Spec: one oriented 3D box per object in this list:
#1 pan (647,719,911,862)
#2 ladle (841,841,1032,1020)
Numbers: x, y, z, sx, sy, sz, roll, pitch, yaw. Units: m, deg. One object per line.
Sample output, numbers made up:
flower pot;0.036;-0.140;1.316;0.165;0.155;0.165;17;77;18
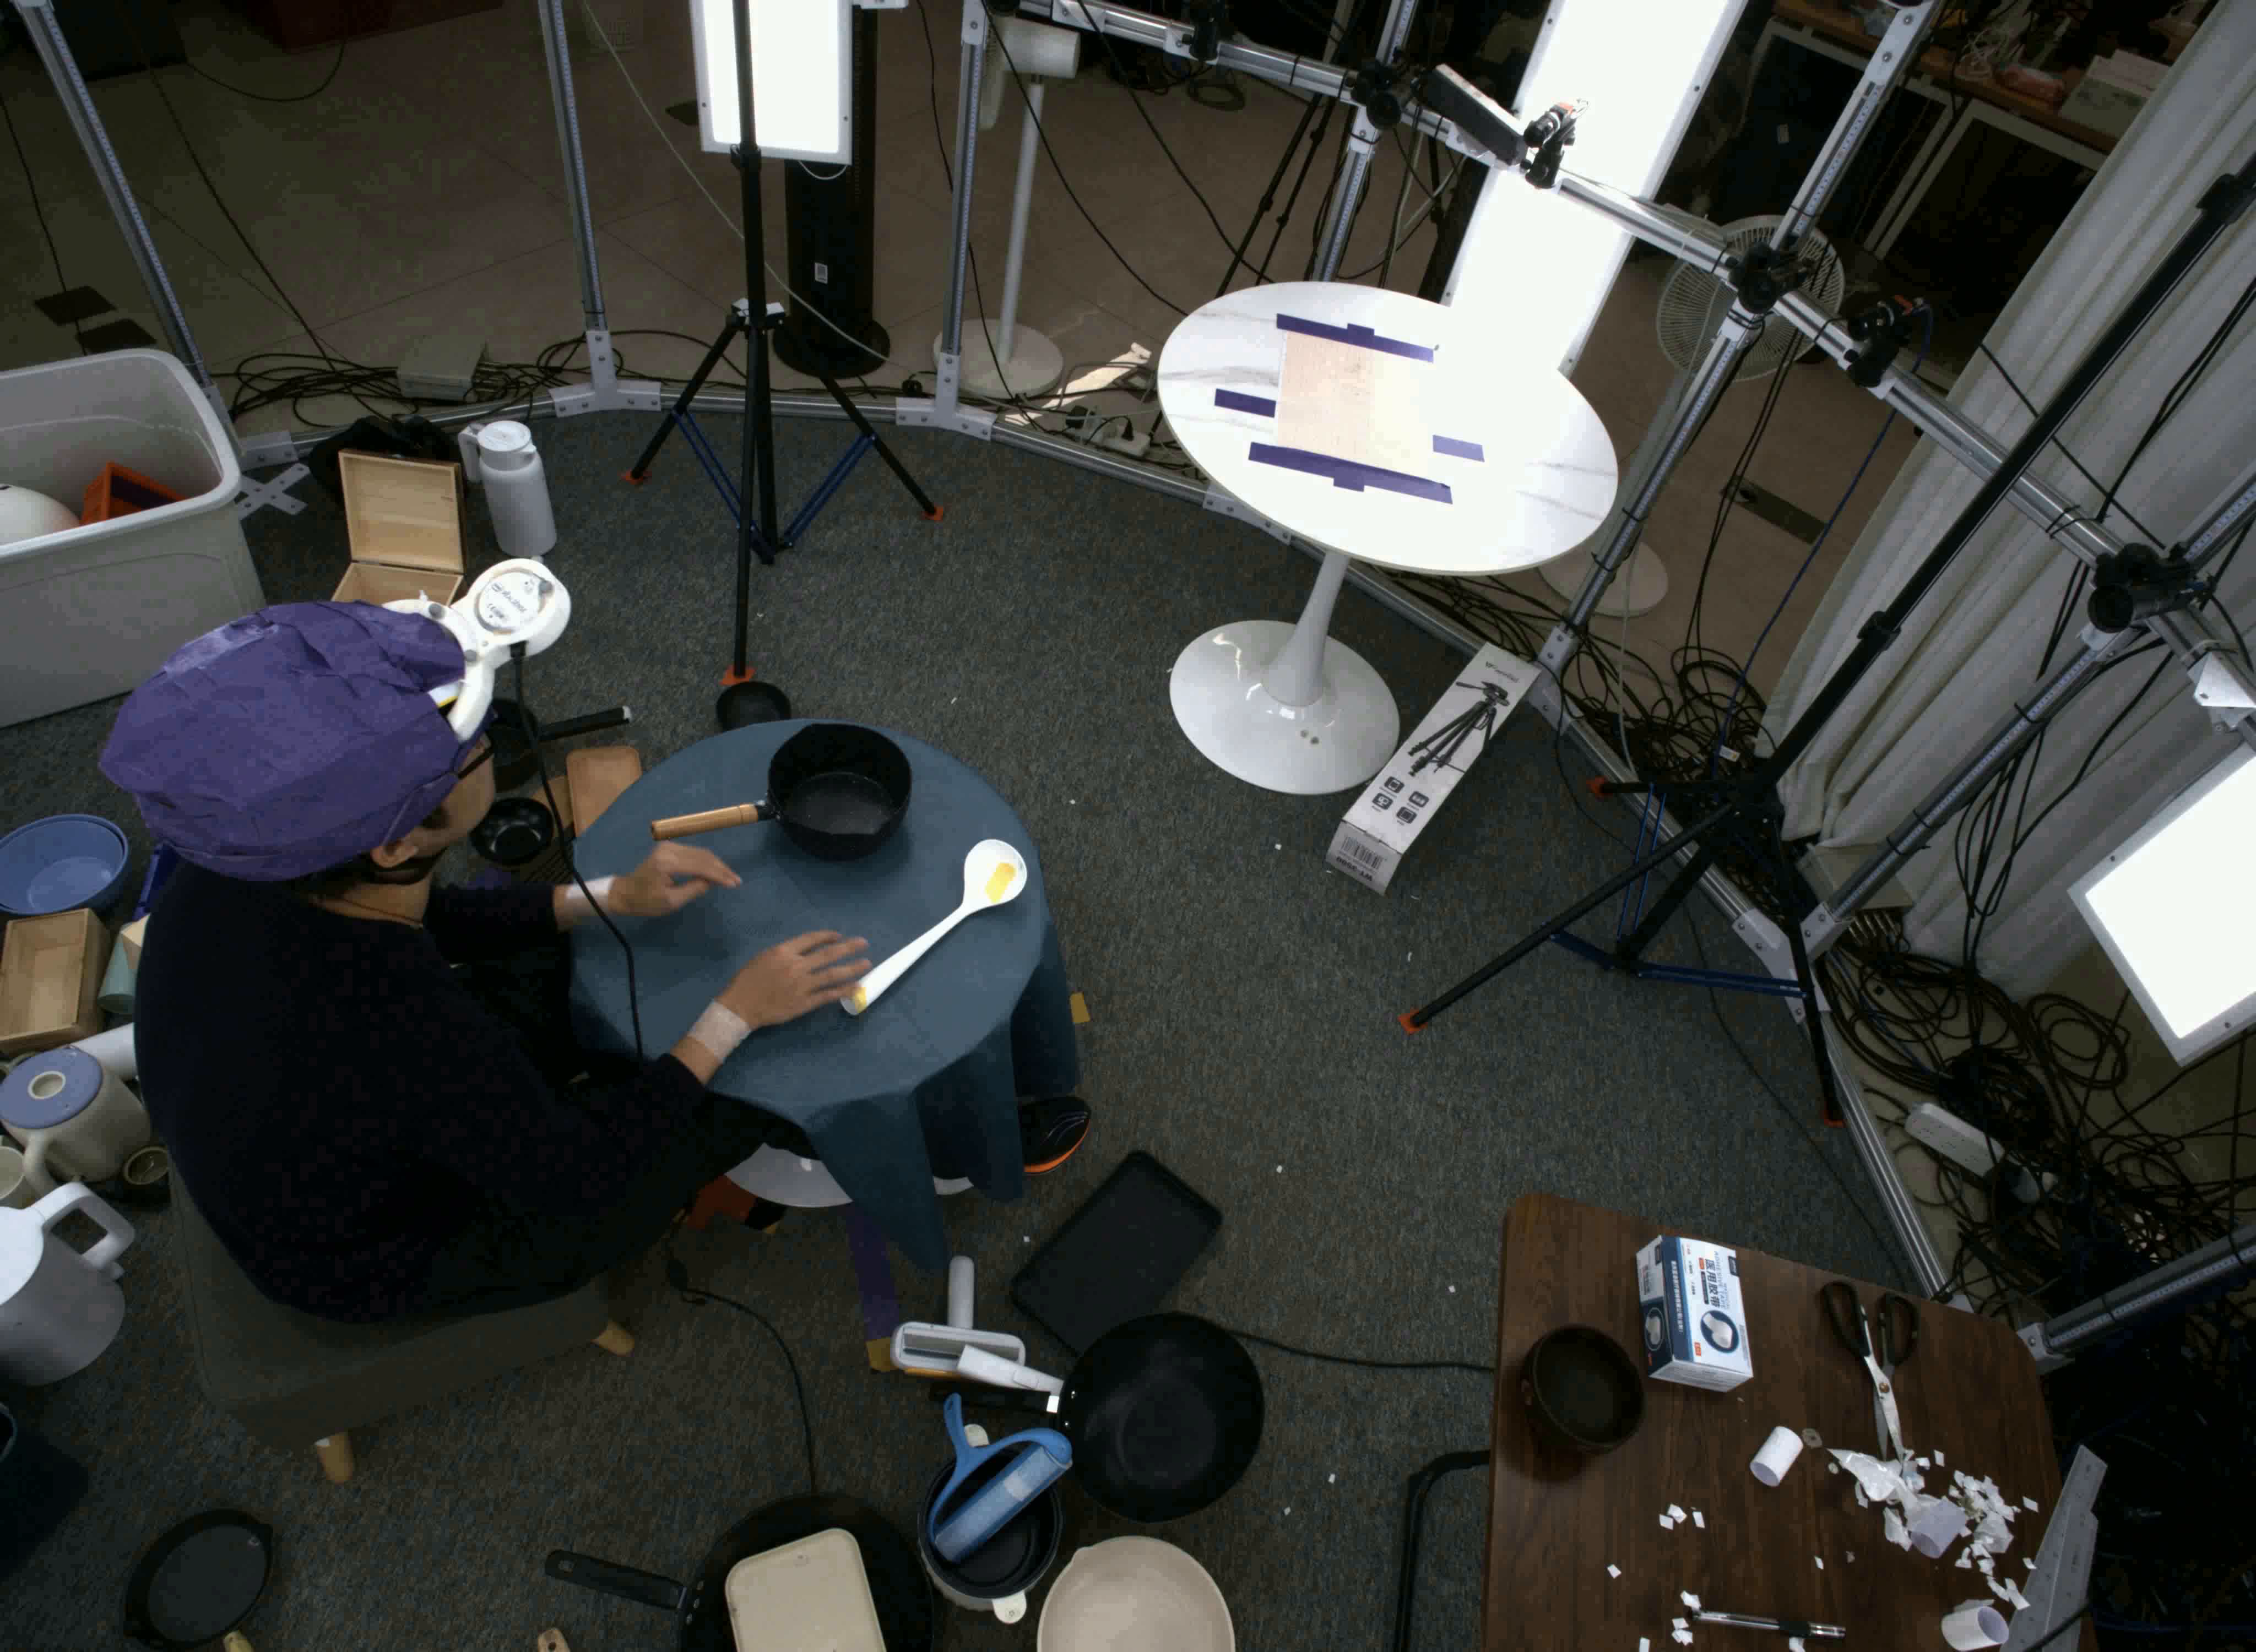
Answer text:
pan;-0.442;-0.021;1.655;0.345;0.110;0.202;-22;62;-29
ladle;-0.240;0.129;1.625;0.089;0.071;0.293;42;56;11
